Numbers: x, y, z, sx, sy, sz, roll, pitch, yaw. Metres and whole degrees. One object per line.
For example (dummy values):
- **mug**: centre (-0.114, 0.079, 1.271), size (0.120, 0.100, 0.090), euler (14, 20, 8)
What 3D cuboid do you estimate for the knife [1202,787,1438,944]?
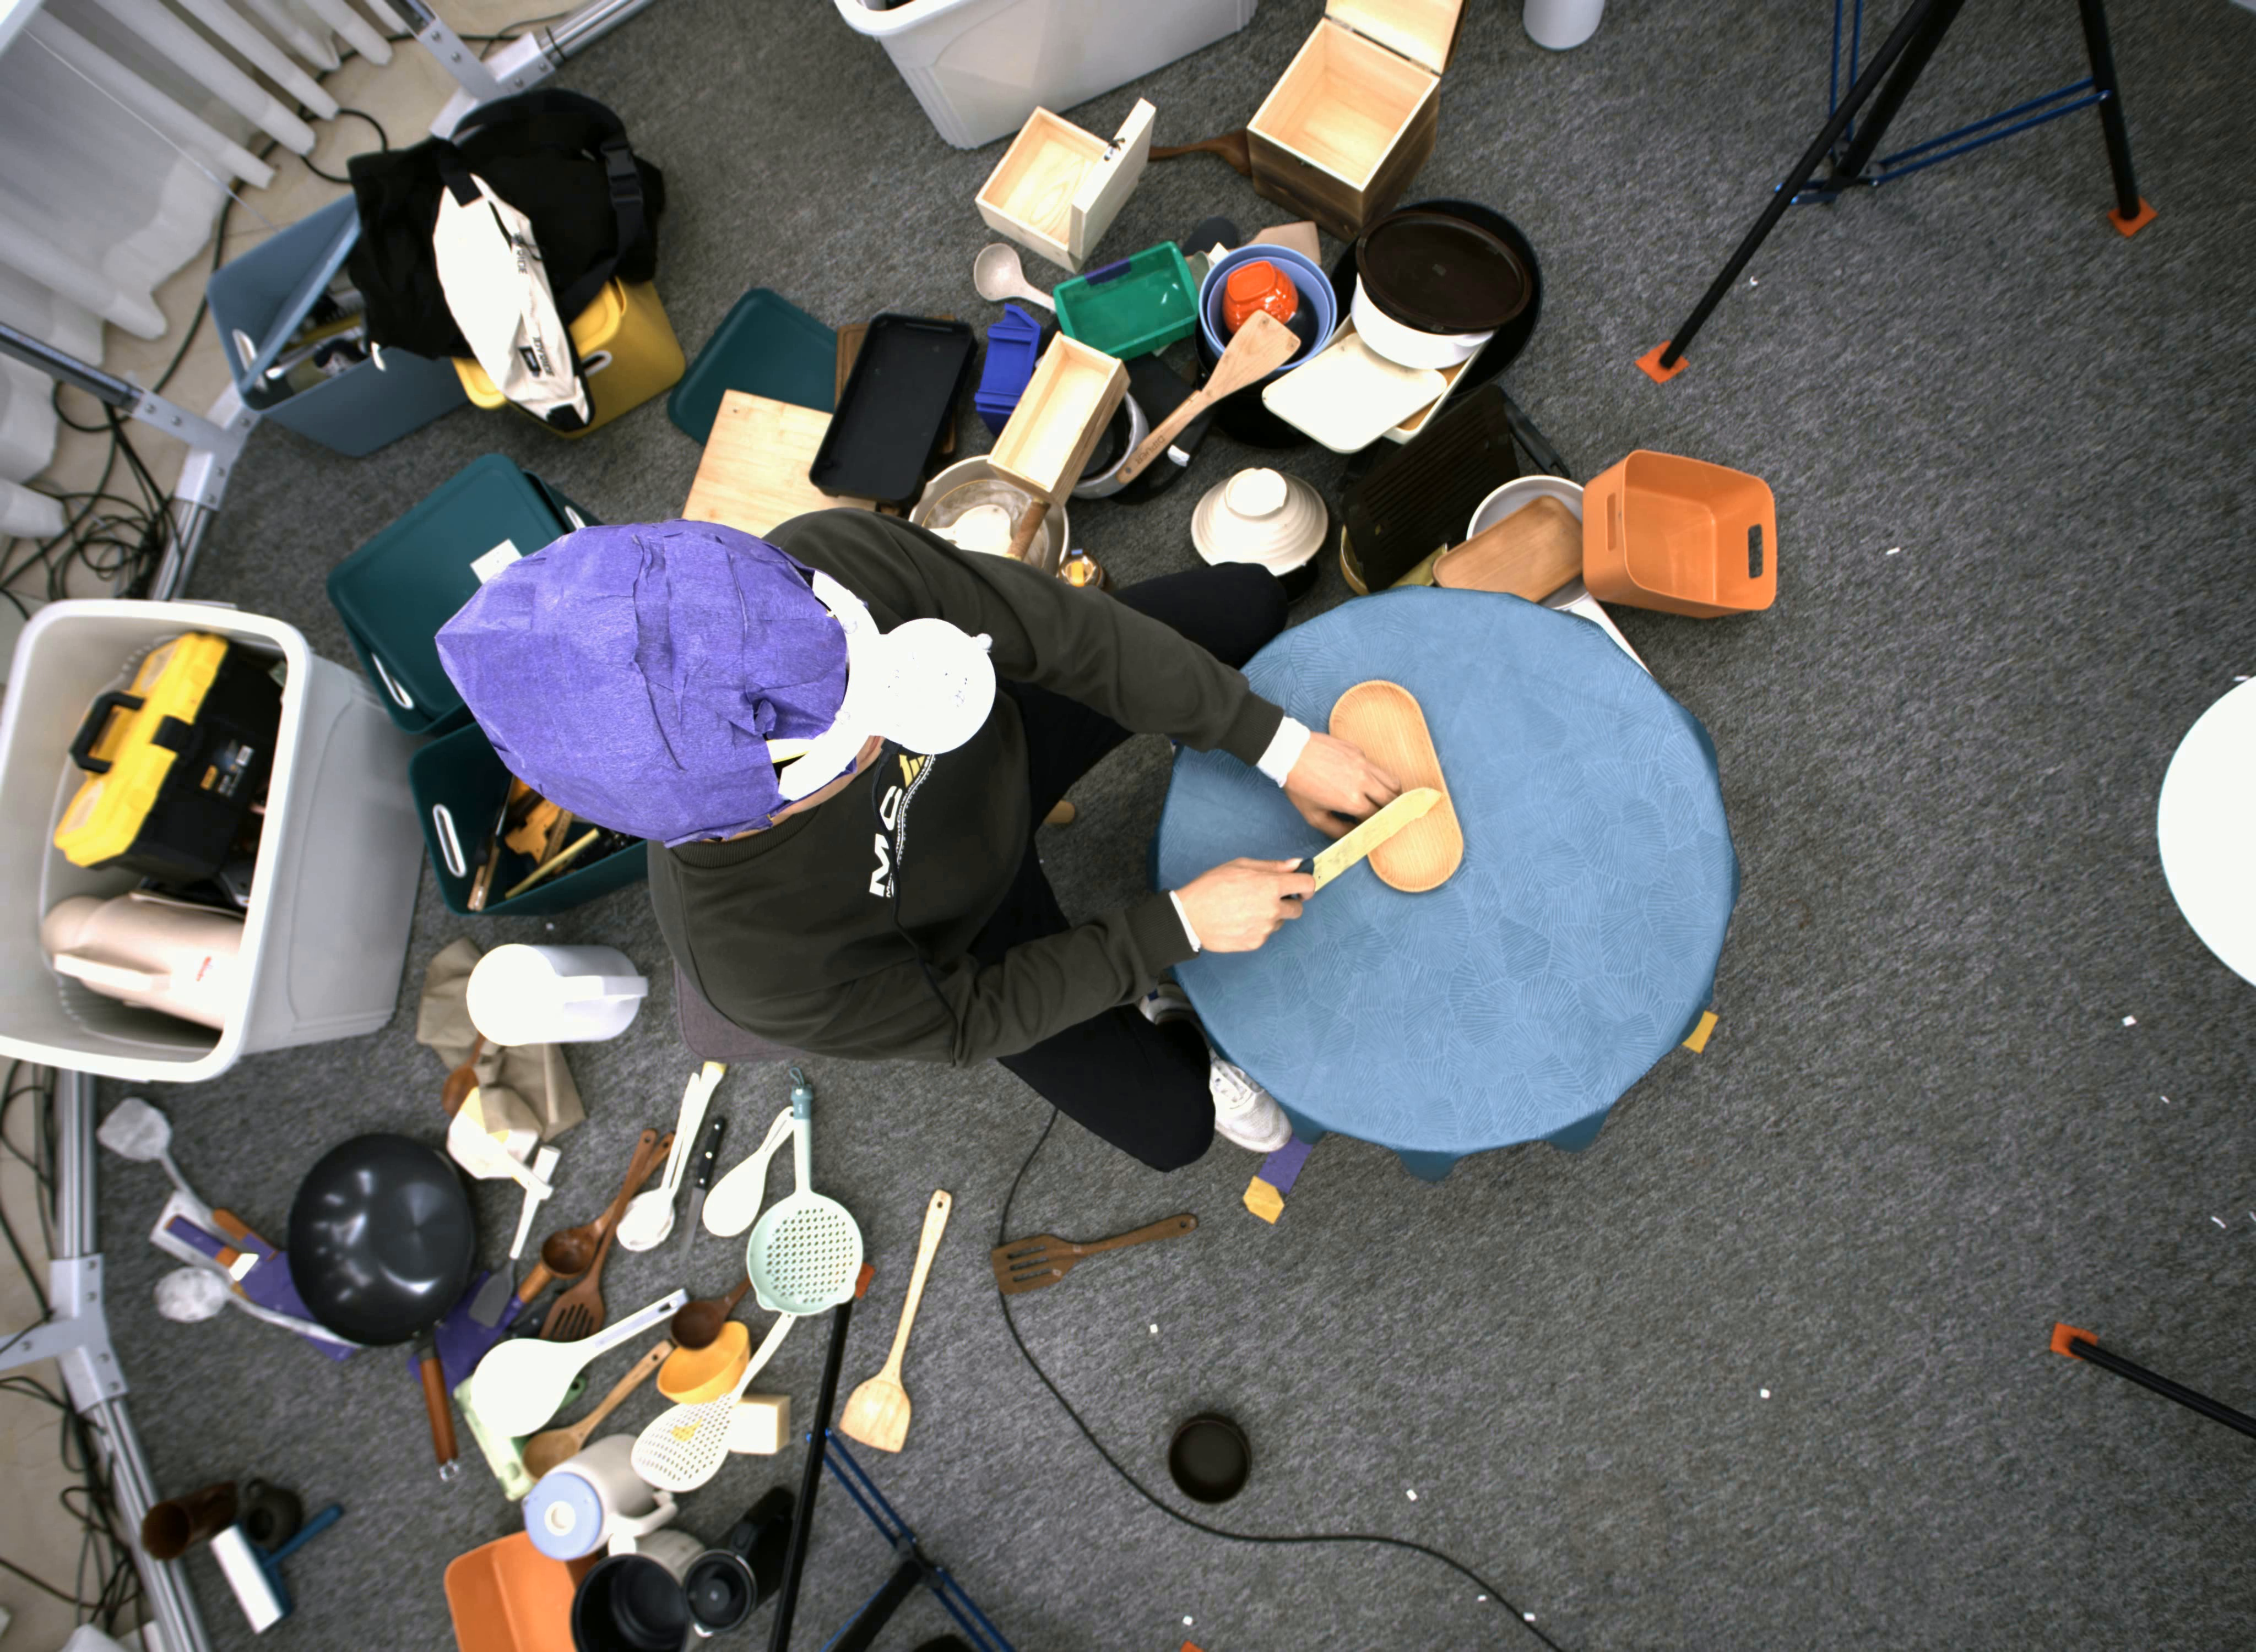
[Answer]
- **knife**: centre (0.201, 0.039, 1.416), size (0.289, 0.082, 0.027), euler (-32, 59, -3)

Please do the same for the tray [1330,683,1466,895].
- **tray**: centre (0.284, -0.041, 1.456), size (0.102, 0.020, 0.230), euler (-18, 85, 12)
